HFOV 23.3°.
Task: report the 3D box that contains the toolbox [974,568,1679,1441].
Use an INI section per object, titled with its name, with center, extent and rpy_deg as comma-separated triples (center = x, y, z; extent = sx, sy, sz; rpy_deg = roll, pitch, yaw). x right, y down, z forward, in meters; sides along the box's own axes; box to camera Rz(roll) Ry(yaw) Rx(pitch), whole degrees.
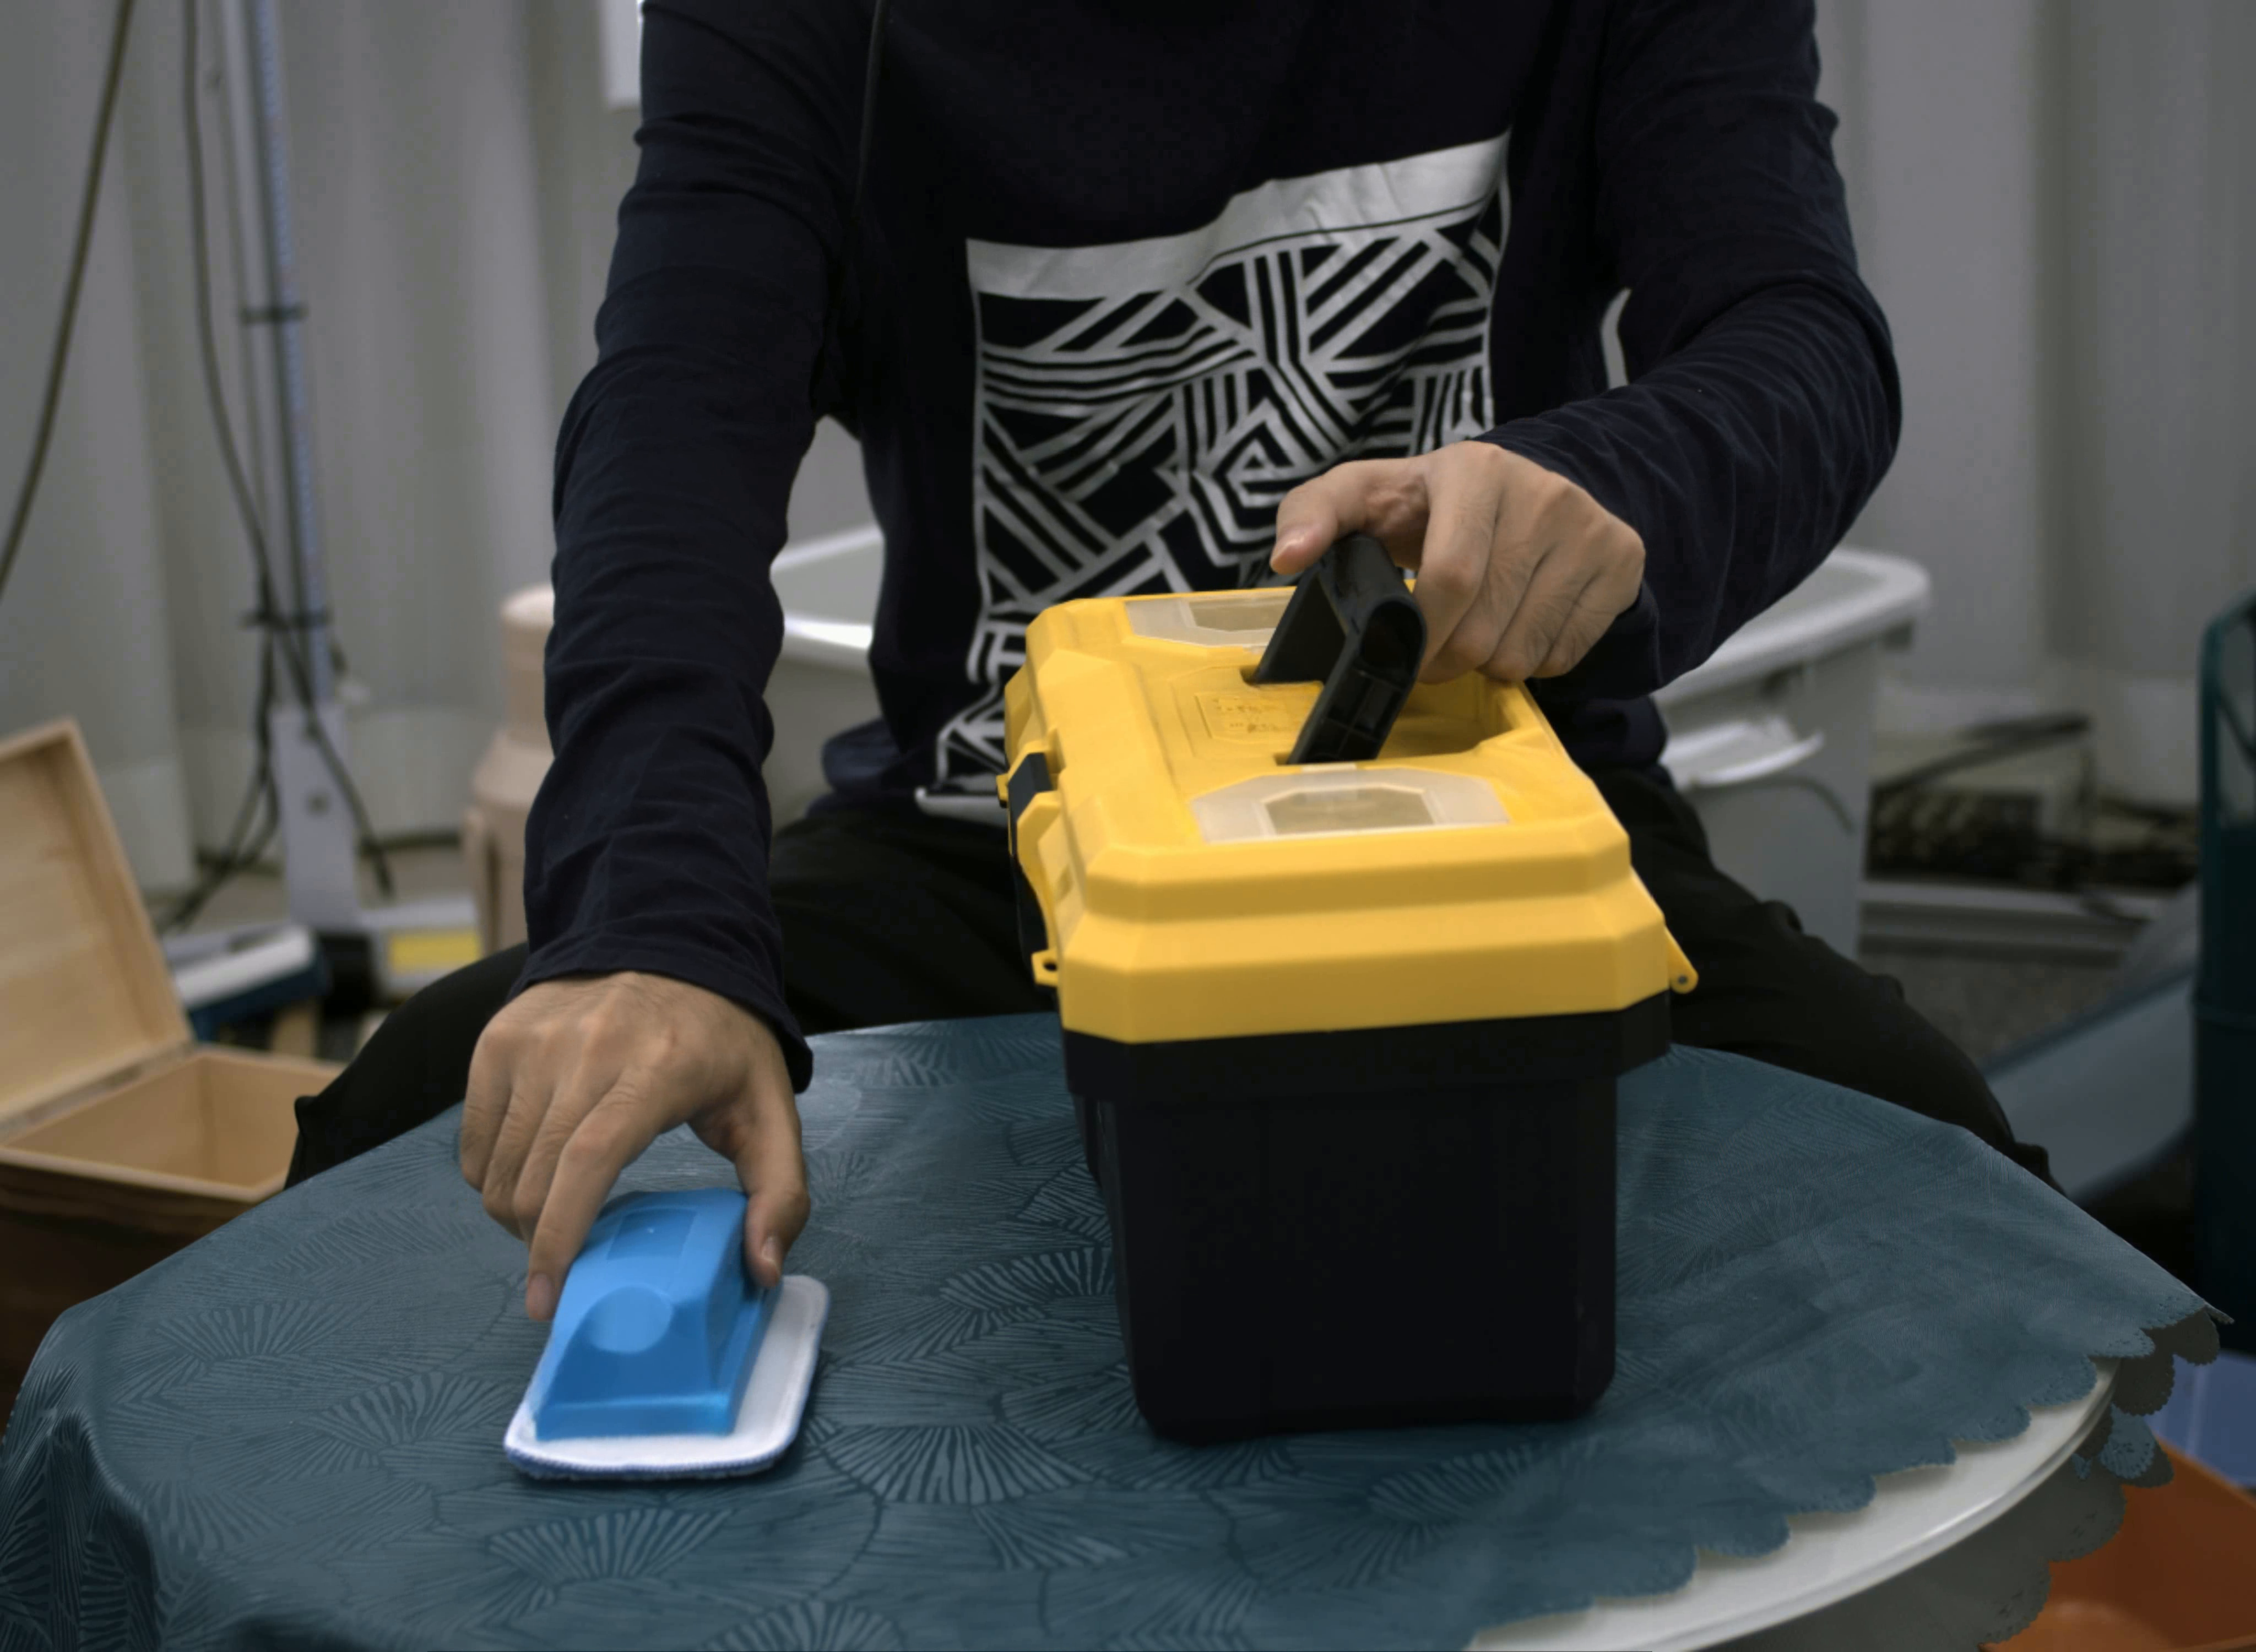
[toolbox]
center = 0.053, 0.044, 1.632
extent = 0.180, 0.172, 0.354
rpy_deg = -4, 15, -3

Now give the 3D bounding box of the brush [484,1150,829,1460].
[brush]
center = -0.133, 0.133, 1.556
extent = 0.083, 0.055, 0.145
rpy_deg = 2, 17, 4
